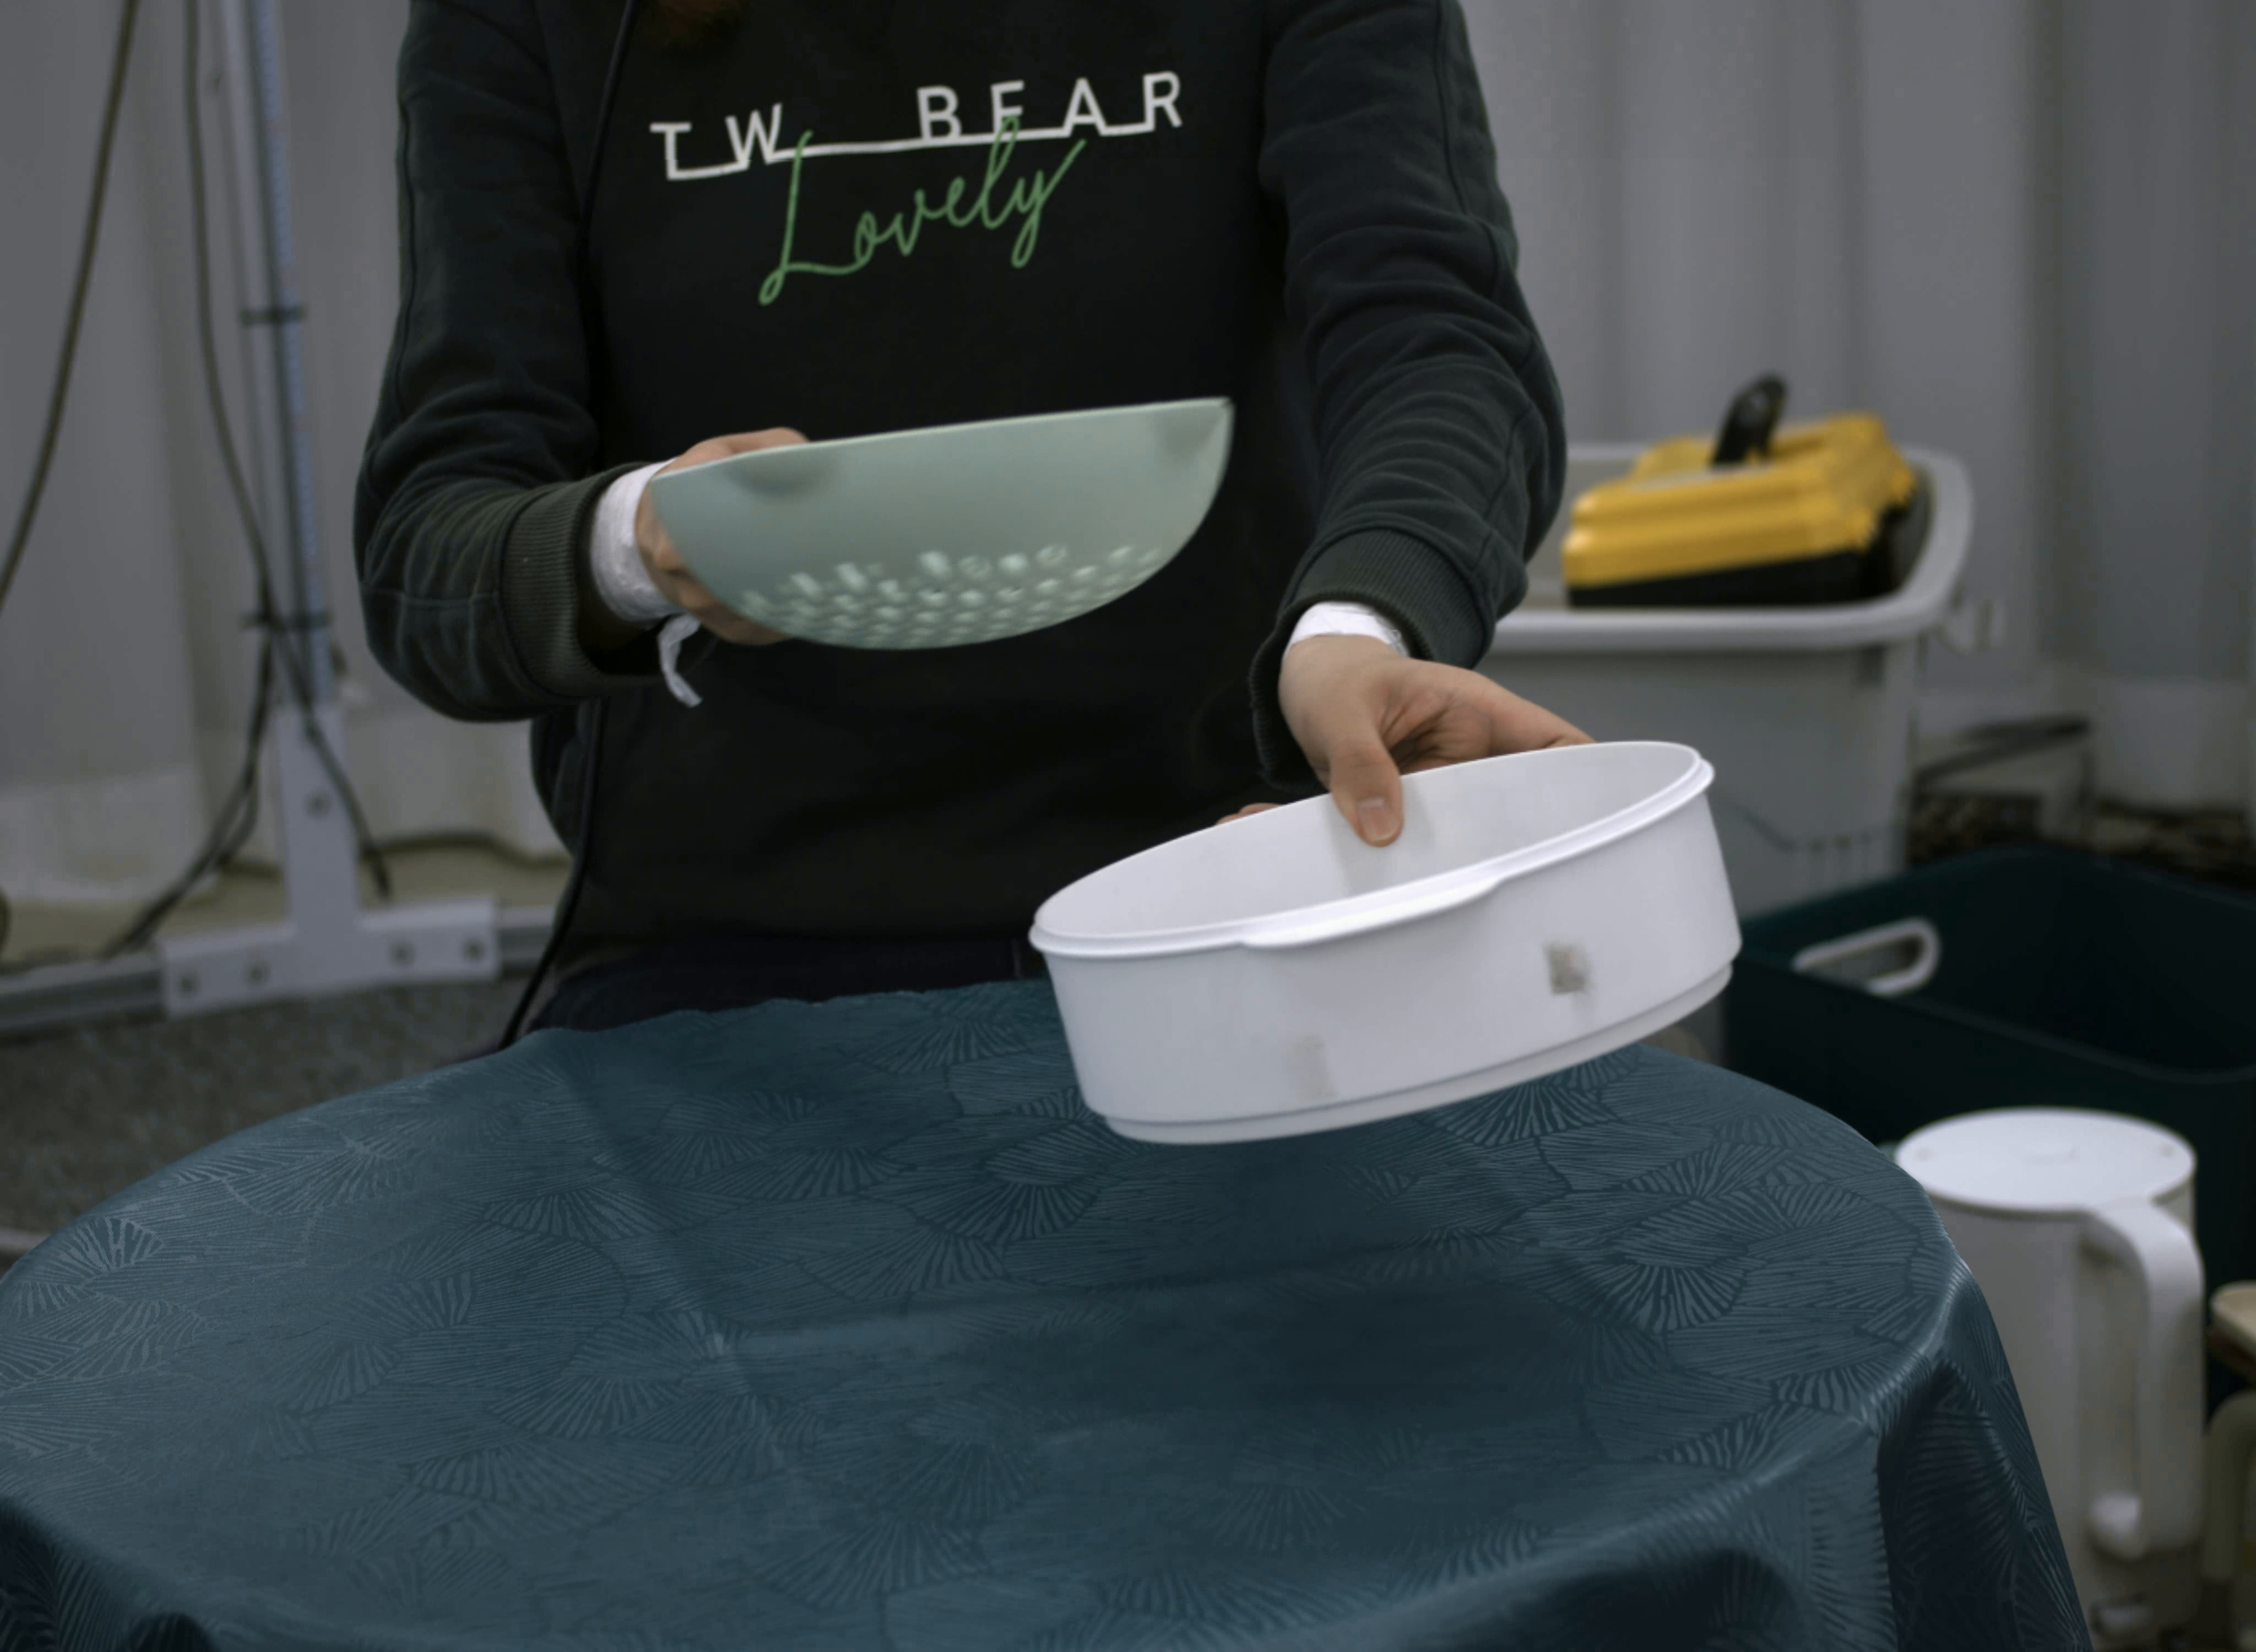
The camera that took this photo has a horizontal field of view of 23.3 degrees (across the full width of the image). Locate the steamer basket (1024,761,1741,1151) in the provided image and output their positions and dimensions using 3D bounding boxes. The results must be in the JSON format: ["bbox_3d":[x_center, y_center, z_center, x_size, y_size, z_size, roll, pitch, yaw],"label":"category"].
[{"bbox_3d":[0.075,0.038,1.554,0.201,0.069,0.231,-12,8,3],"label":"steamer basket"}]

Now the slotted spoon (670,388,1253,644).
[{"bbox_3d":[-0.071,-0.097,1.665,0.168,0.075,0.360,-7,8,-15],"label":"slotted spoon"}]
